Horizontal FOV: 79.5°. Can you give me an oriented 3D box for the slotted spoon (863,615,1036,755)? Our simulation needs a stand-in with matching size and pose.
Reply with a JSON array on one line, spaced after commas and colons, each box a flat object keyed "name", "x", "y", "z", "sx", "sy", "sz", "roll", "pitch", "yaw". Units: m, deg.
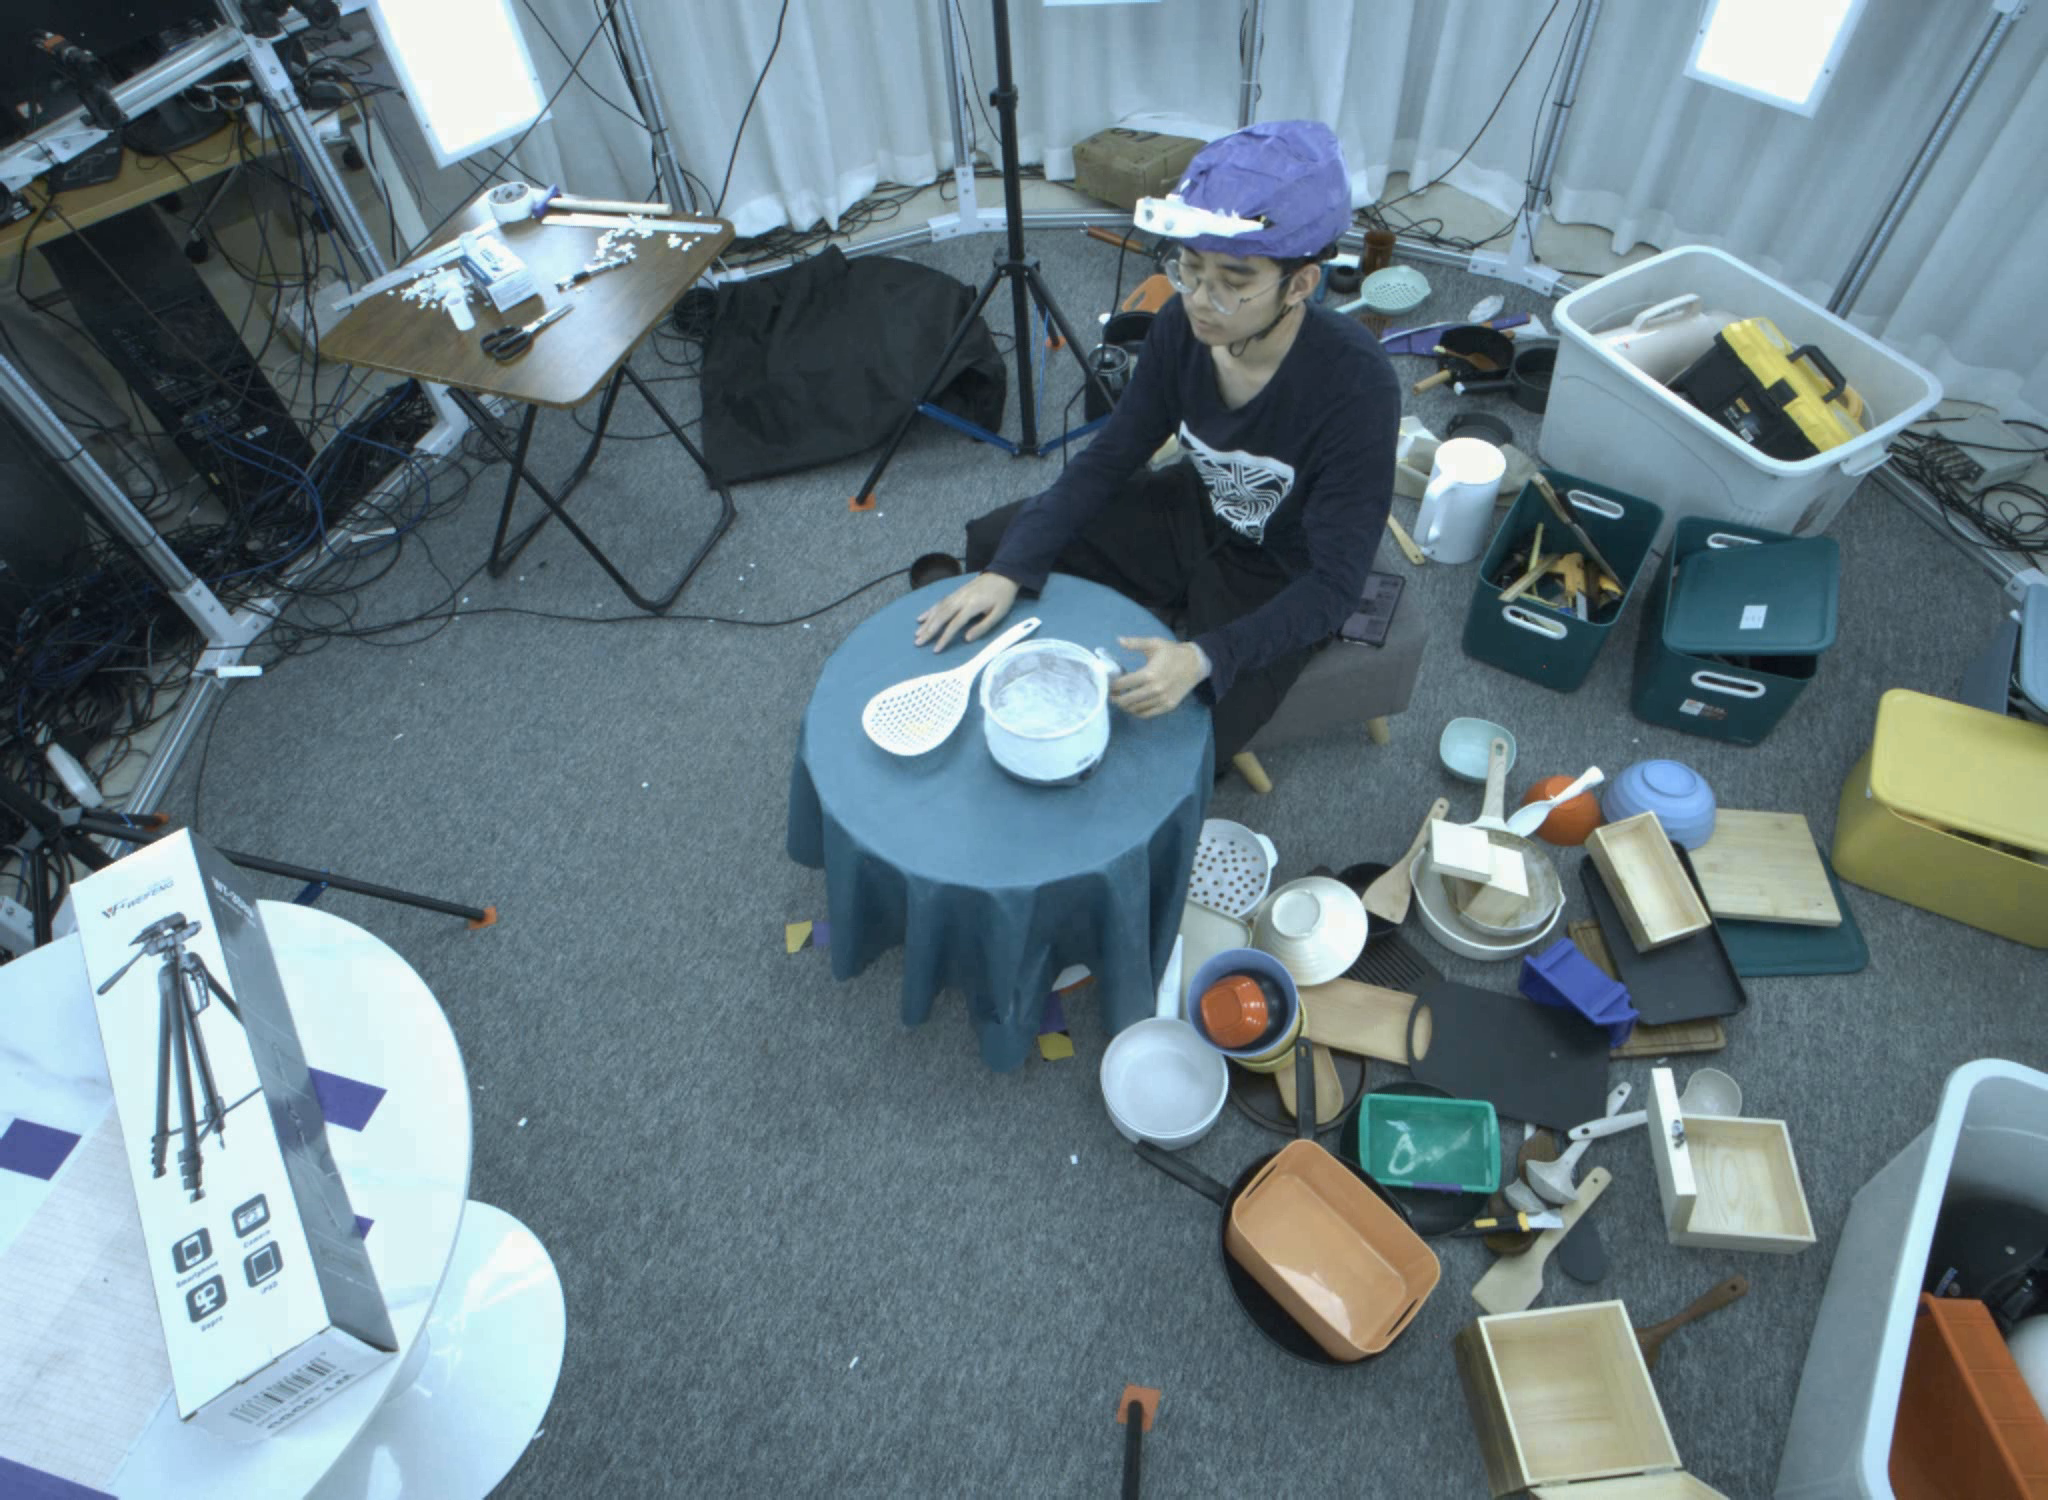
[{"name": "slotted spoon", "x": -0.093, "y": -0.108, "z": 1.847, "sx": 0.134, "sy": 0.051, "sz": 0.350, "roll": 34, "pitch": 63, "yaw": 24}]

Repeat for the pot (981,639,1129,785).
[{"name": "pot", "x": 0.053, "y": -0.064, "z": 1.755, "sx": 0.235, "sy": 0.138, "sz": 0.175, "roll": -35, "pitch": 62, "yaw": -20}]
